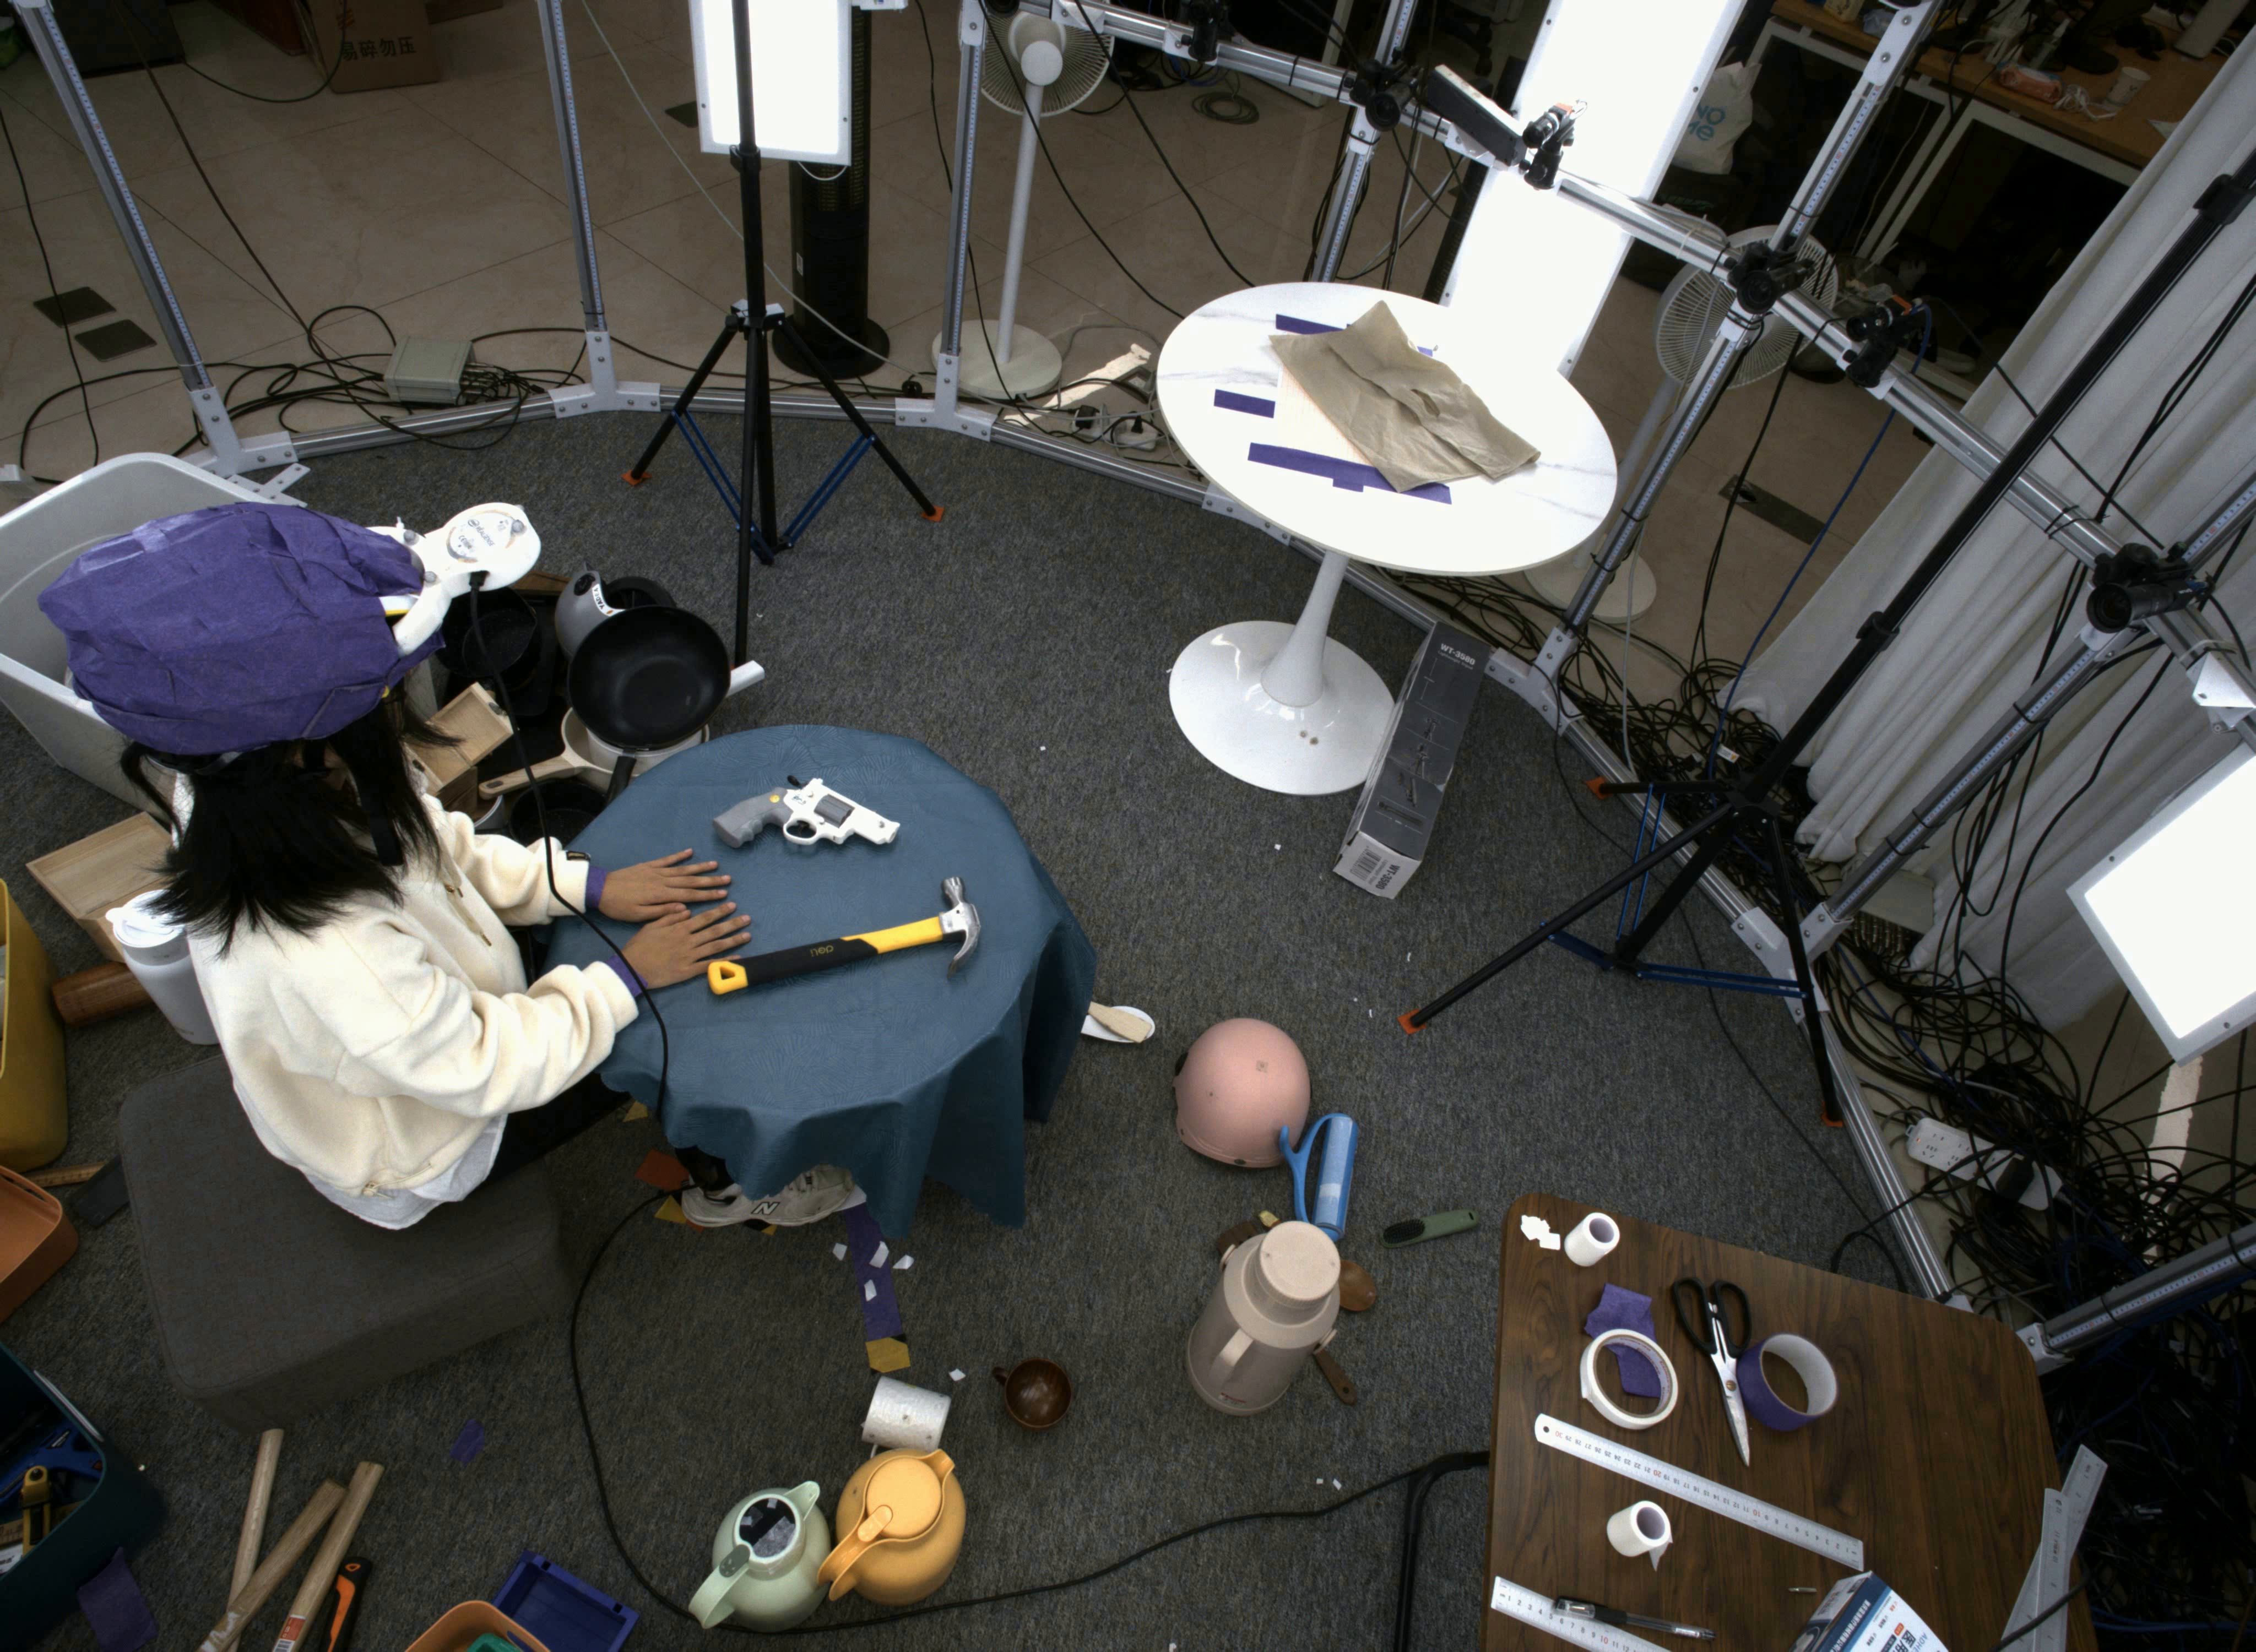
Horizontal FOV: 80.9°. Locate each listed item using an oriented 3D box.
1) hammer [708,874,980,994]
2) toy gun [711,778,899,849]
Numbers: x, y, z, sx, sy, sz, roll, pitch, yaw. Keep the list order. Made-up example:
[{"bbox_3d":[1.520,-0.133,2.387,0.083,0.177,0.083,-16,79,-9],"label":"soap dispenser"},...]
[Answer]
[{"bbox_3d":[-0.347,0.148,1.605,0.340,0.033,0.128,-11,60,-23],"label":"hammer"},{"bbox_3d":[-0.422,-0.002,1.695,0.206,0.039,0.140,25,51,4],"label":"toy gun"}]
